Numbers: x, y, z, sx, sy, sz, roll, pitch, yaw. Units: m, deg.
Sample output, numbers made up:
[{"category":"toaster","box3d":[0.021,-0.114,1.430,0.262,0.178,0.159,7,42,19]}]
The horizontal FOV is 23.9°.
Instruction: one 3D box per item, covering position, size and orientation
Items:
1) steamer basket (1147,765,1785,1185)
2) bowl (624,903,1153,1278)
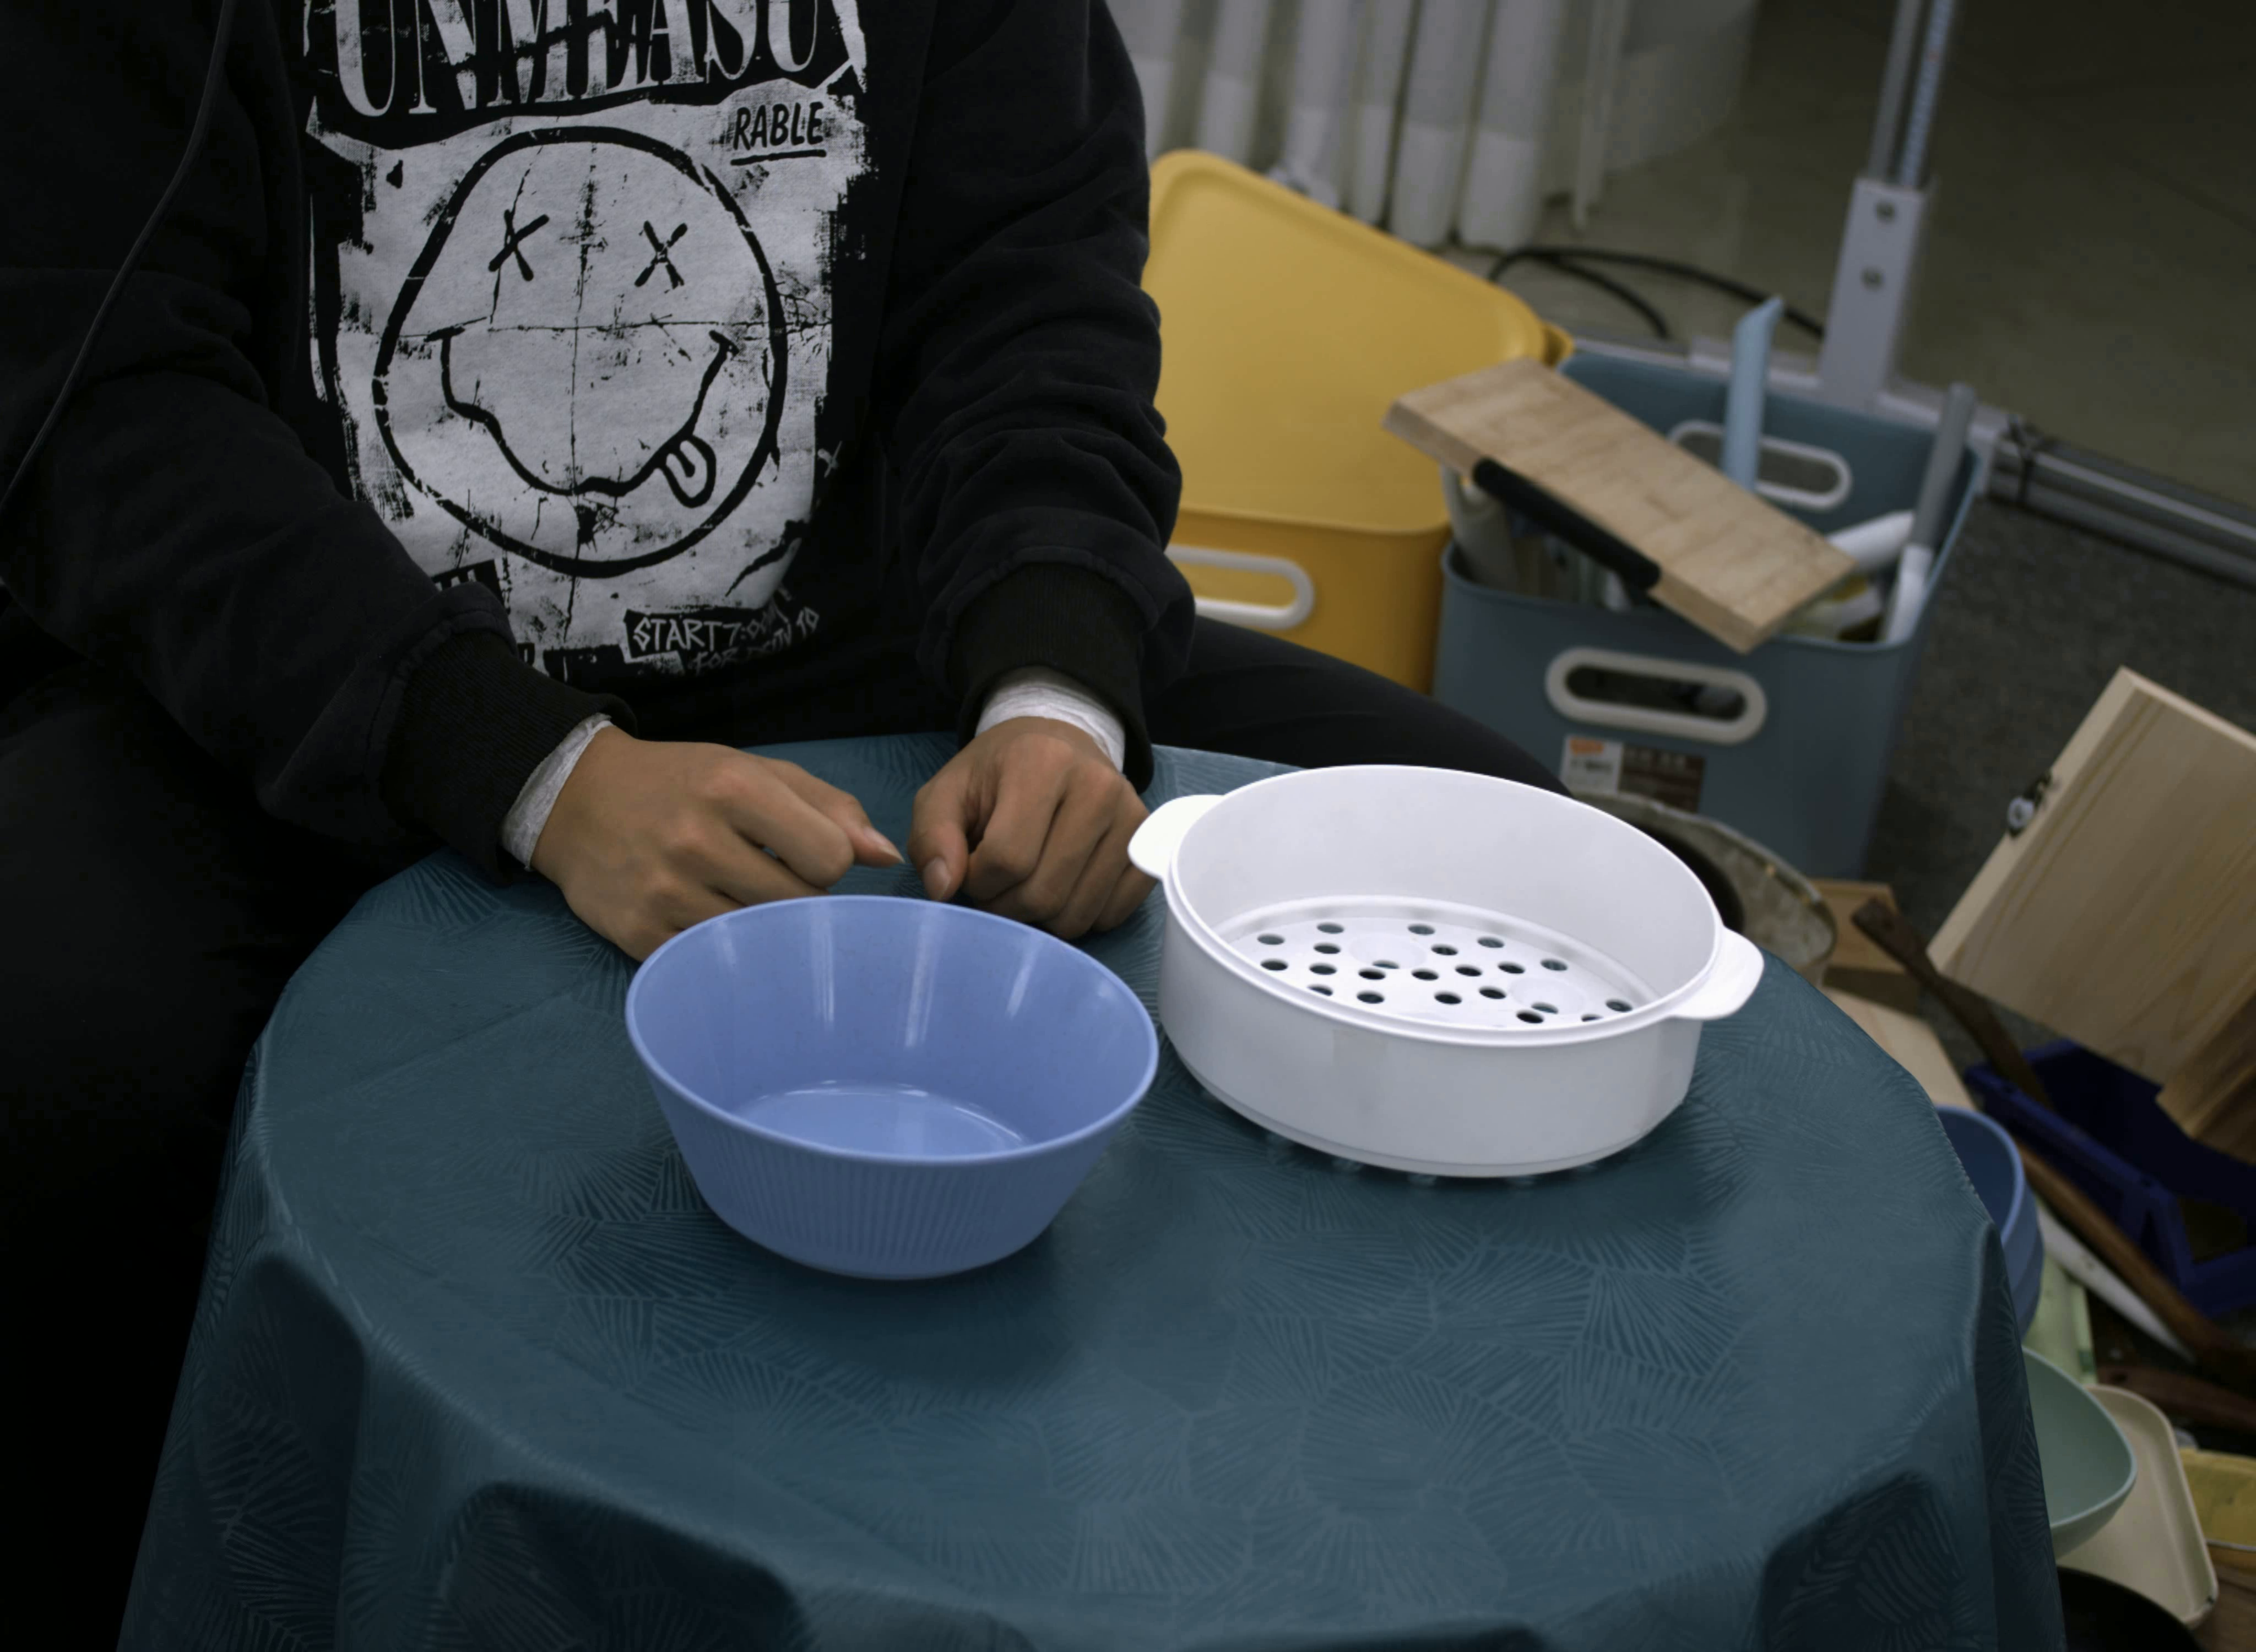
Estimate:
[{"category":"steamer basket","box3d":[0.114,0.053,1.889,0.231,0.069,0.202,17,28,15]},{"category":"bowl","box3d":[-0.082,0.093,1.764,0.175,0.070,0.177,6,26,-3]}]
